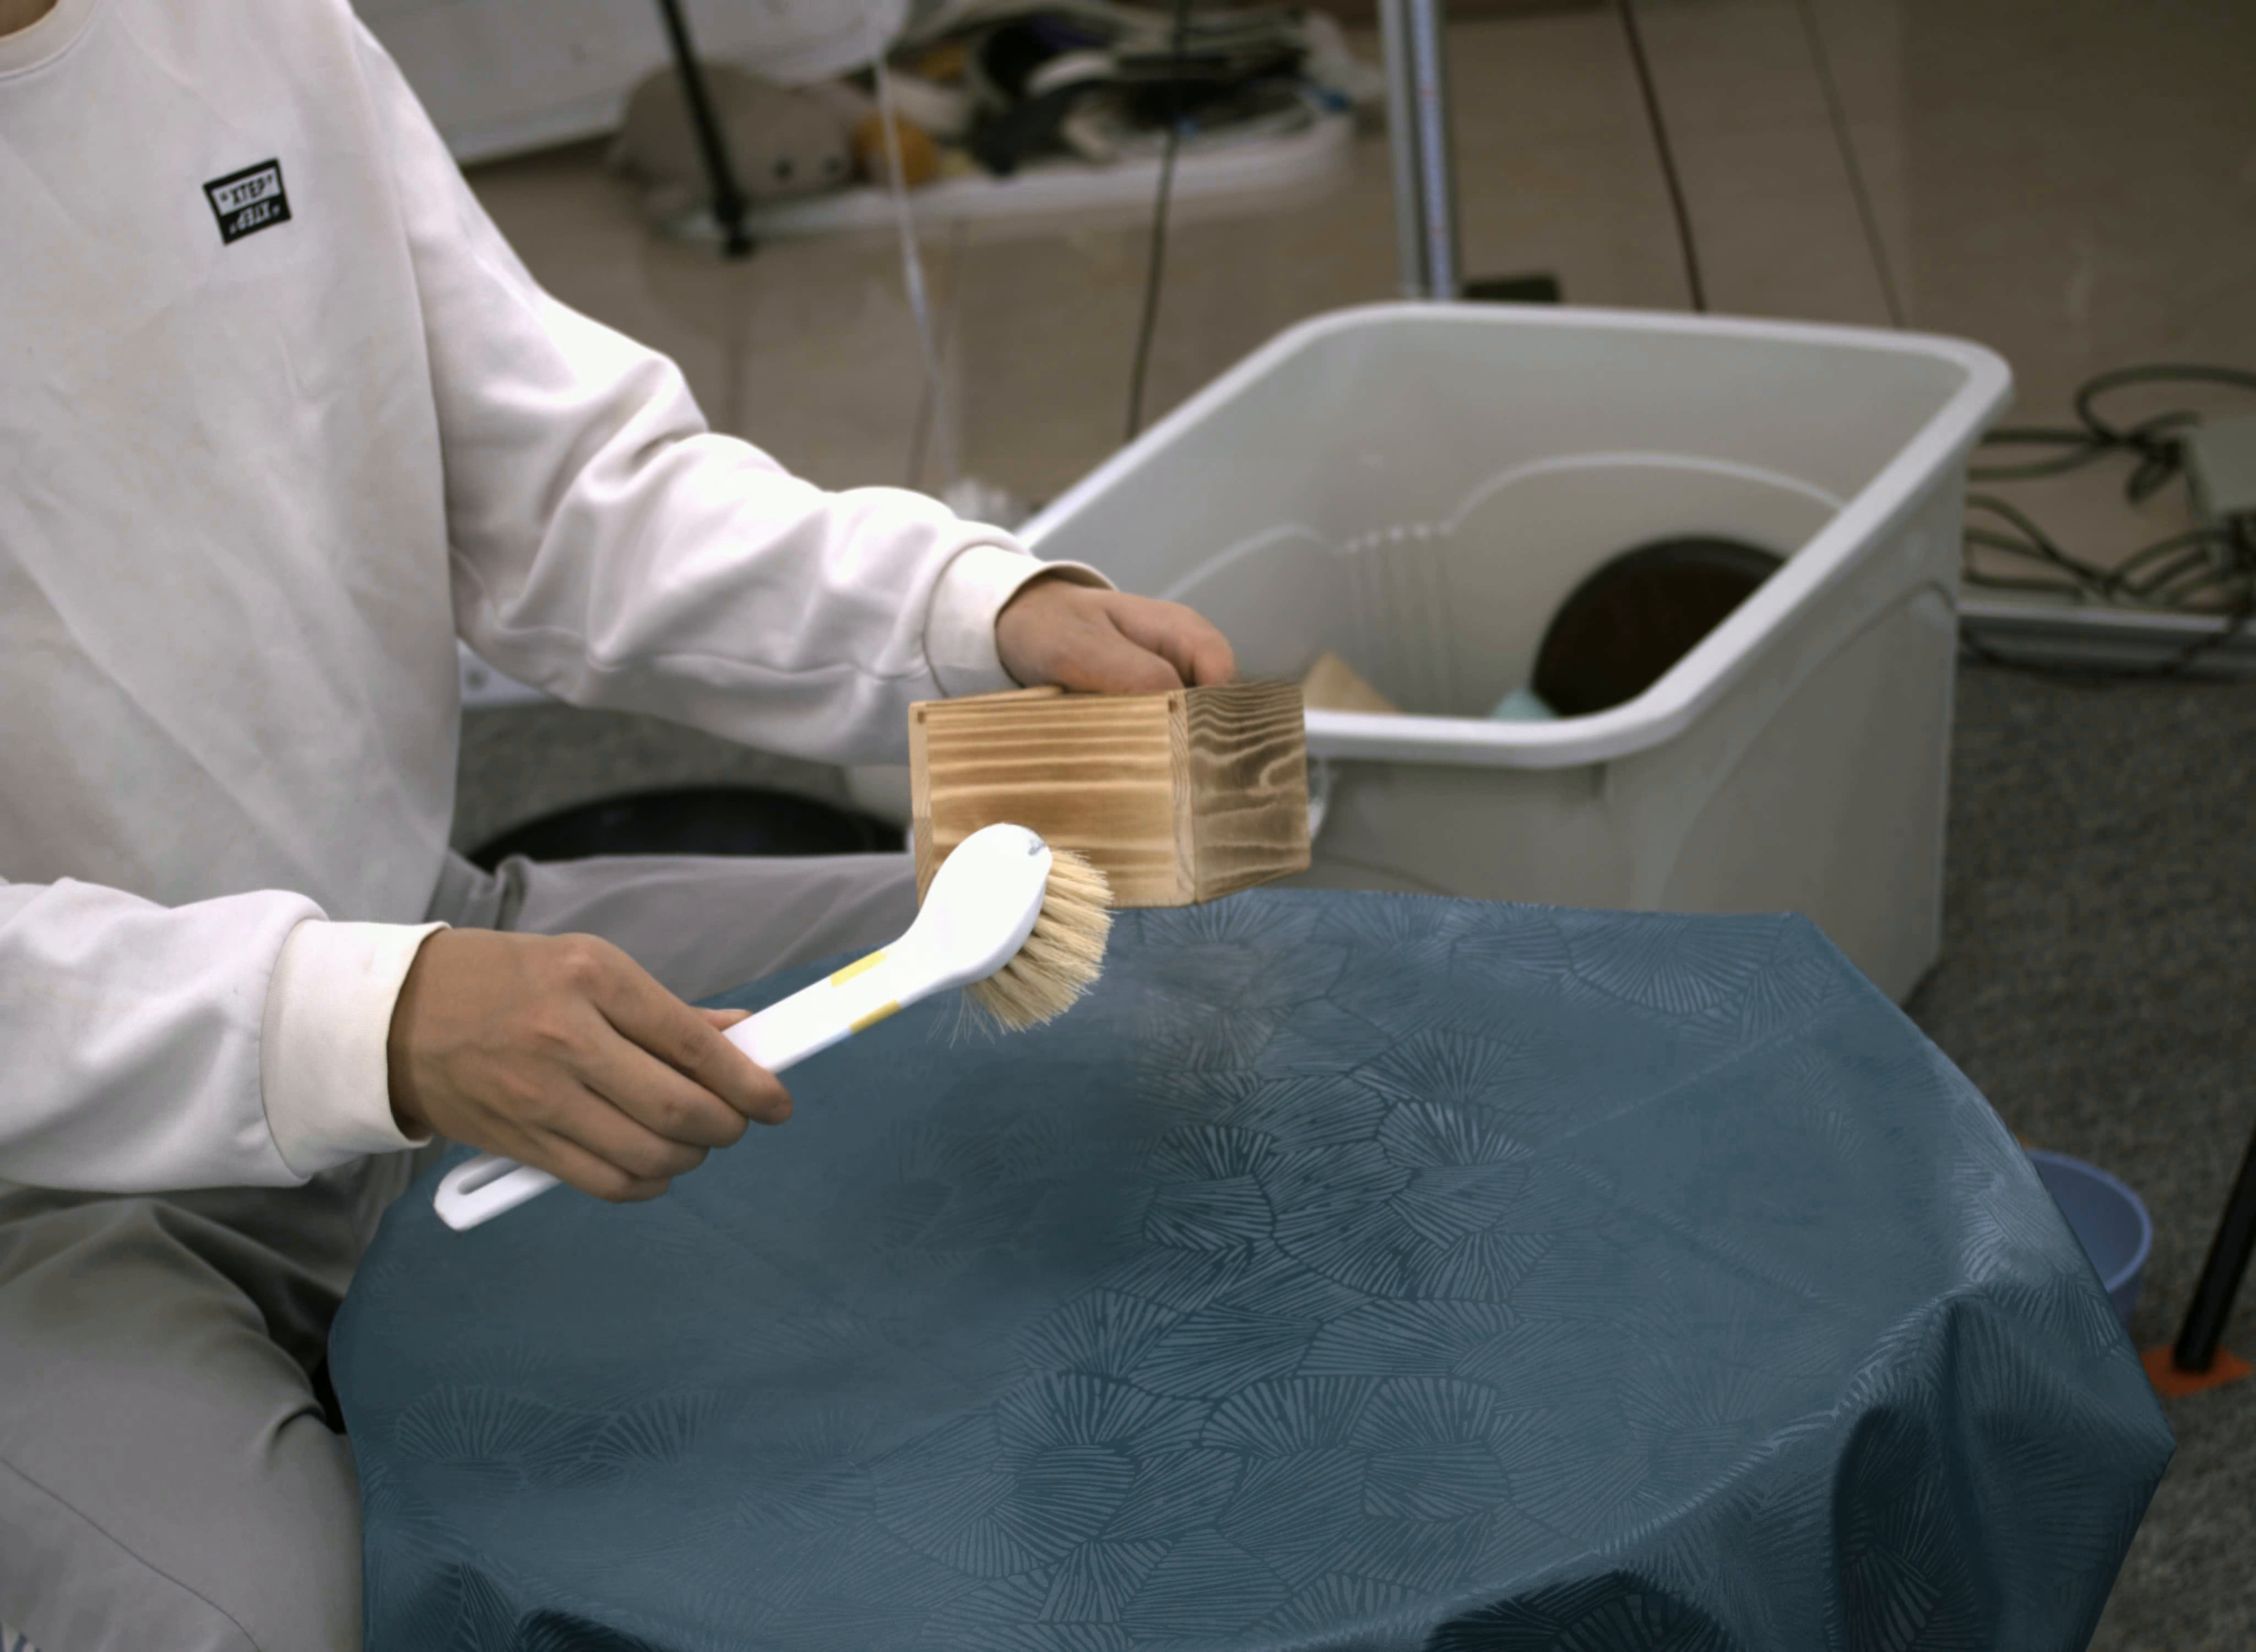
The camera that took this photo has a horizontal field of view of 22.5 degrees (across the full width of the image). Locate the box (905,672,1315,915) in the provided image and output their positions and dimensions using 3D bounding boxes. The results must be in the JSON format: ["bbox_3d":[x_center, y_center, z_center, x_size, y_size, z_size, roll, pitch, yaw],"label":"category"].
[{"bbox_3d":[-0.004,-0.012,2.162,0.107,0.080,0.211,-3,3,13],"label":"box"}]

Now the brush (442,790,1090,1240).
[{"bbox_3d":[-0.125,0.083,2.029,0.267,0.057,0.067,-36,28,9],"label":"brush"}]
